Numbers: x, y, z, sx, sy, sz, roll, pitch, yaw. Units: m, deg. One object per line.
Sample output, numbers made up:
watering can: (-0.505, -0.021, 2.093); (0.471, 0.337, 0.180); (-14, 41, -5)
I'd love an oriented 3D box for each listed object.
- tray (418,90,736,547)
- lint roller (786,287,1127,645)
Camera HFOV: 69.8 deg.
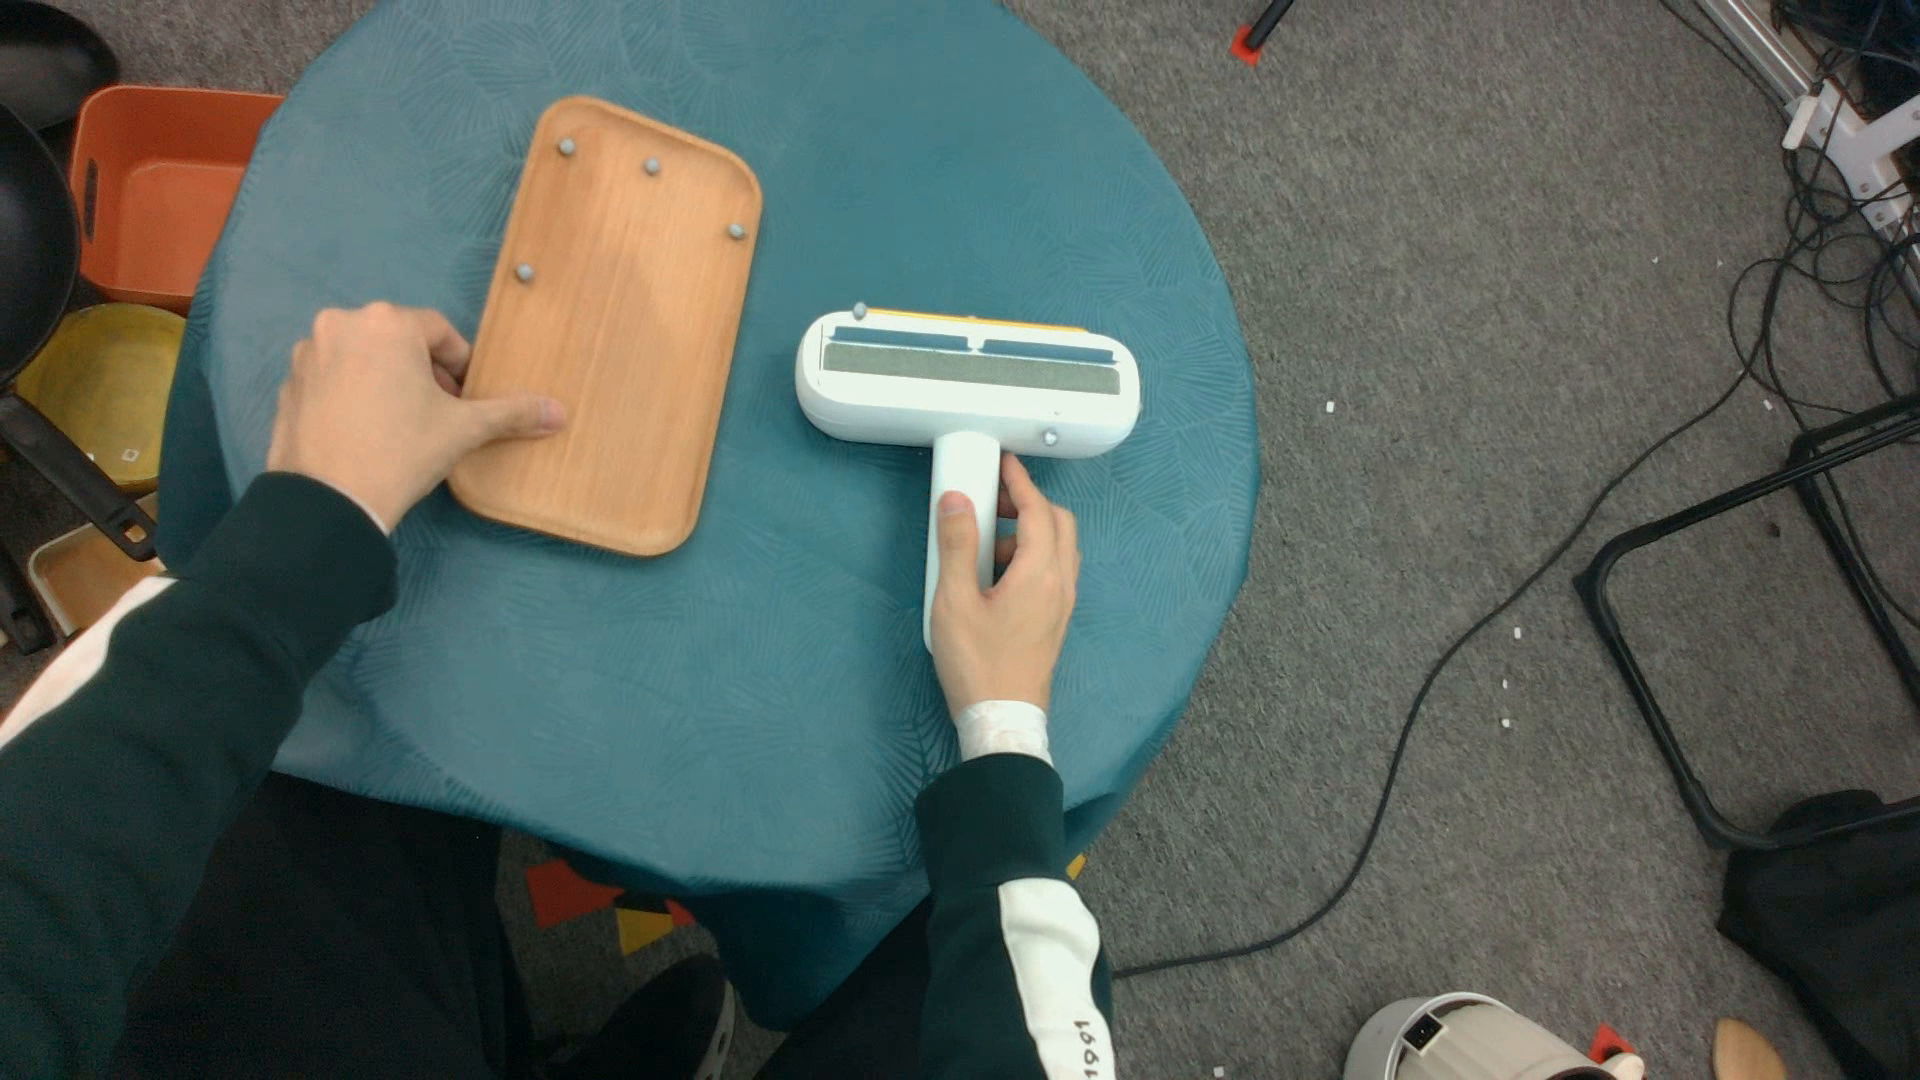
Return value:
tray: (-0.198, -0.121, 0.735); (0.130, 0.023, 0.251); (15, 68, -20)
lint roller: (-0.011, -0.036, 0.777); (0.193, 0.074, 0.192); (9, 84, -10)
